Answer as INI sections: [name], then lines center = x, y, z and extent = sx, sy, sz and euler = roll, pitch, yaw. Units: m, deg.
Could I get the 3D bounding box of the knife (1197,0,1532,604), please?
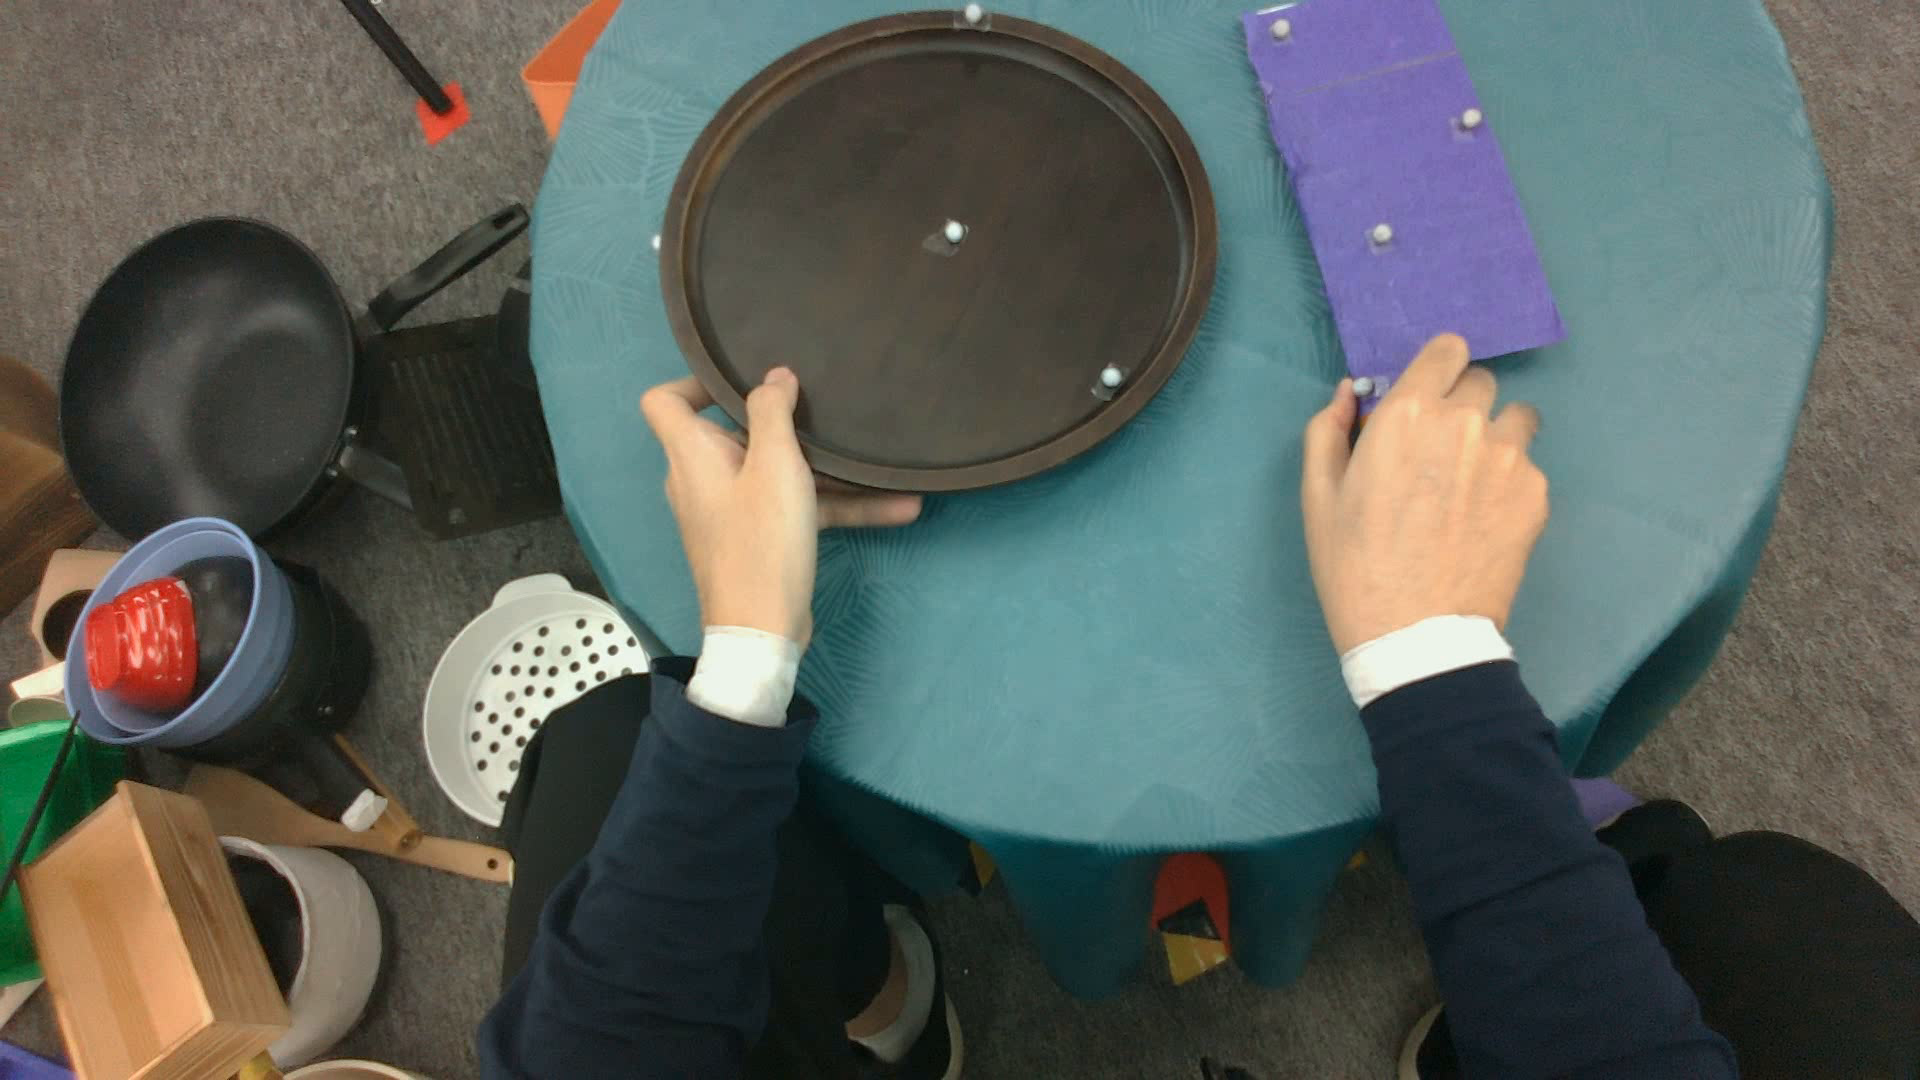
[knife]
center = 0.192, -0.129, 0.605
extent = 0.104, 0.032, 0.316
euler = -13, 69, 5

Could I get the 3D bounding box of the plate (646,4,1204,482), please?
[plate]
center = -0.017, -0.140, 0.632
extent = 0.255, 0.029, 0.255
euler = -1, 67, 3
